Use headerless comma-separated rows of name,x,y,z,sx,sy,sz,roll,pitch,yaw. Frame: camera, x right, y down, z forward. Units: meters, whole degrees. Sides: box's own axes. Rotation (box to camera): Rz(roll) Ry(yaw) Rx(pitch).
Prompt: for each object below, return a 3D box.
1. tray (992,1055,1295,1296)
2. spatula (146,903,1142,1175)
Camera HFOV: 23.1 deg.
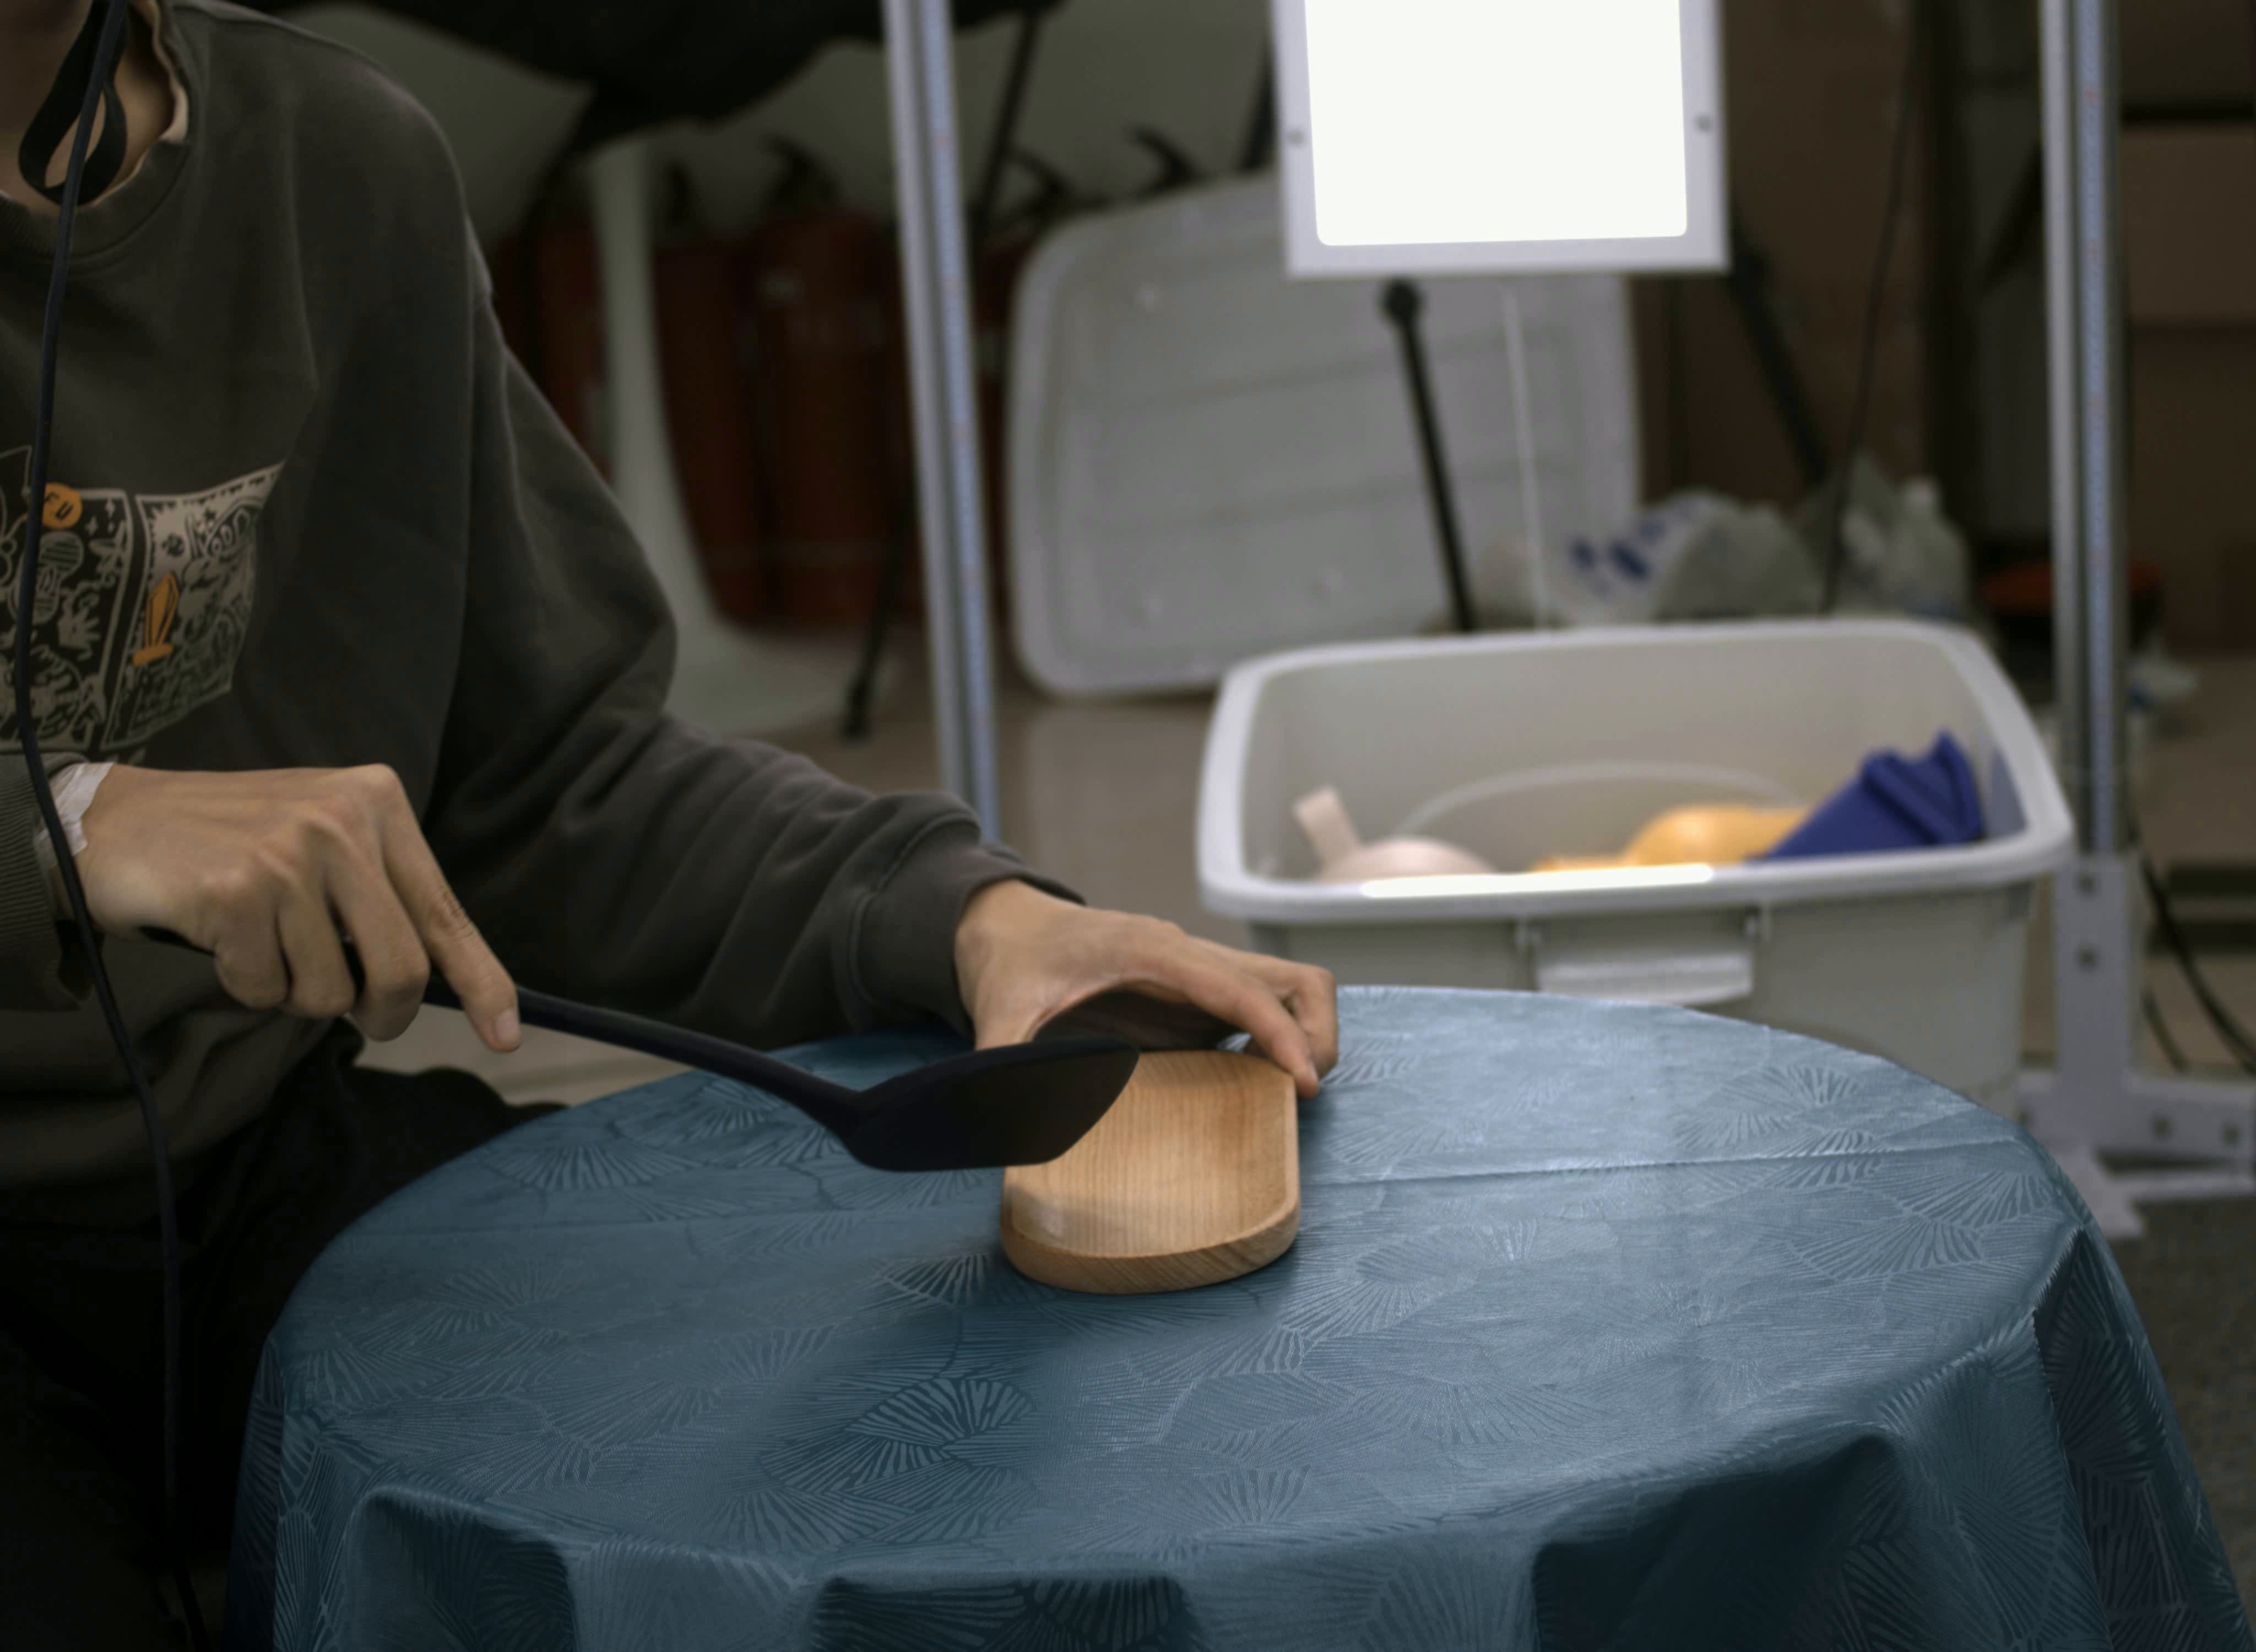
tray,0.007,0.118,1.893,0.102,0.020,0.230,-6,15,3
spatula,-0.158,0.061,1.797,0.323,0.101,0.040,17,55,-10
